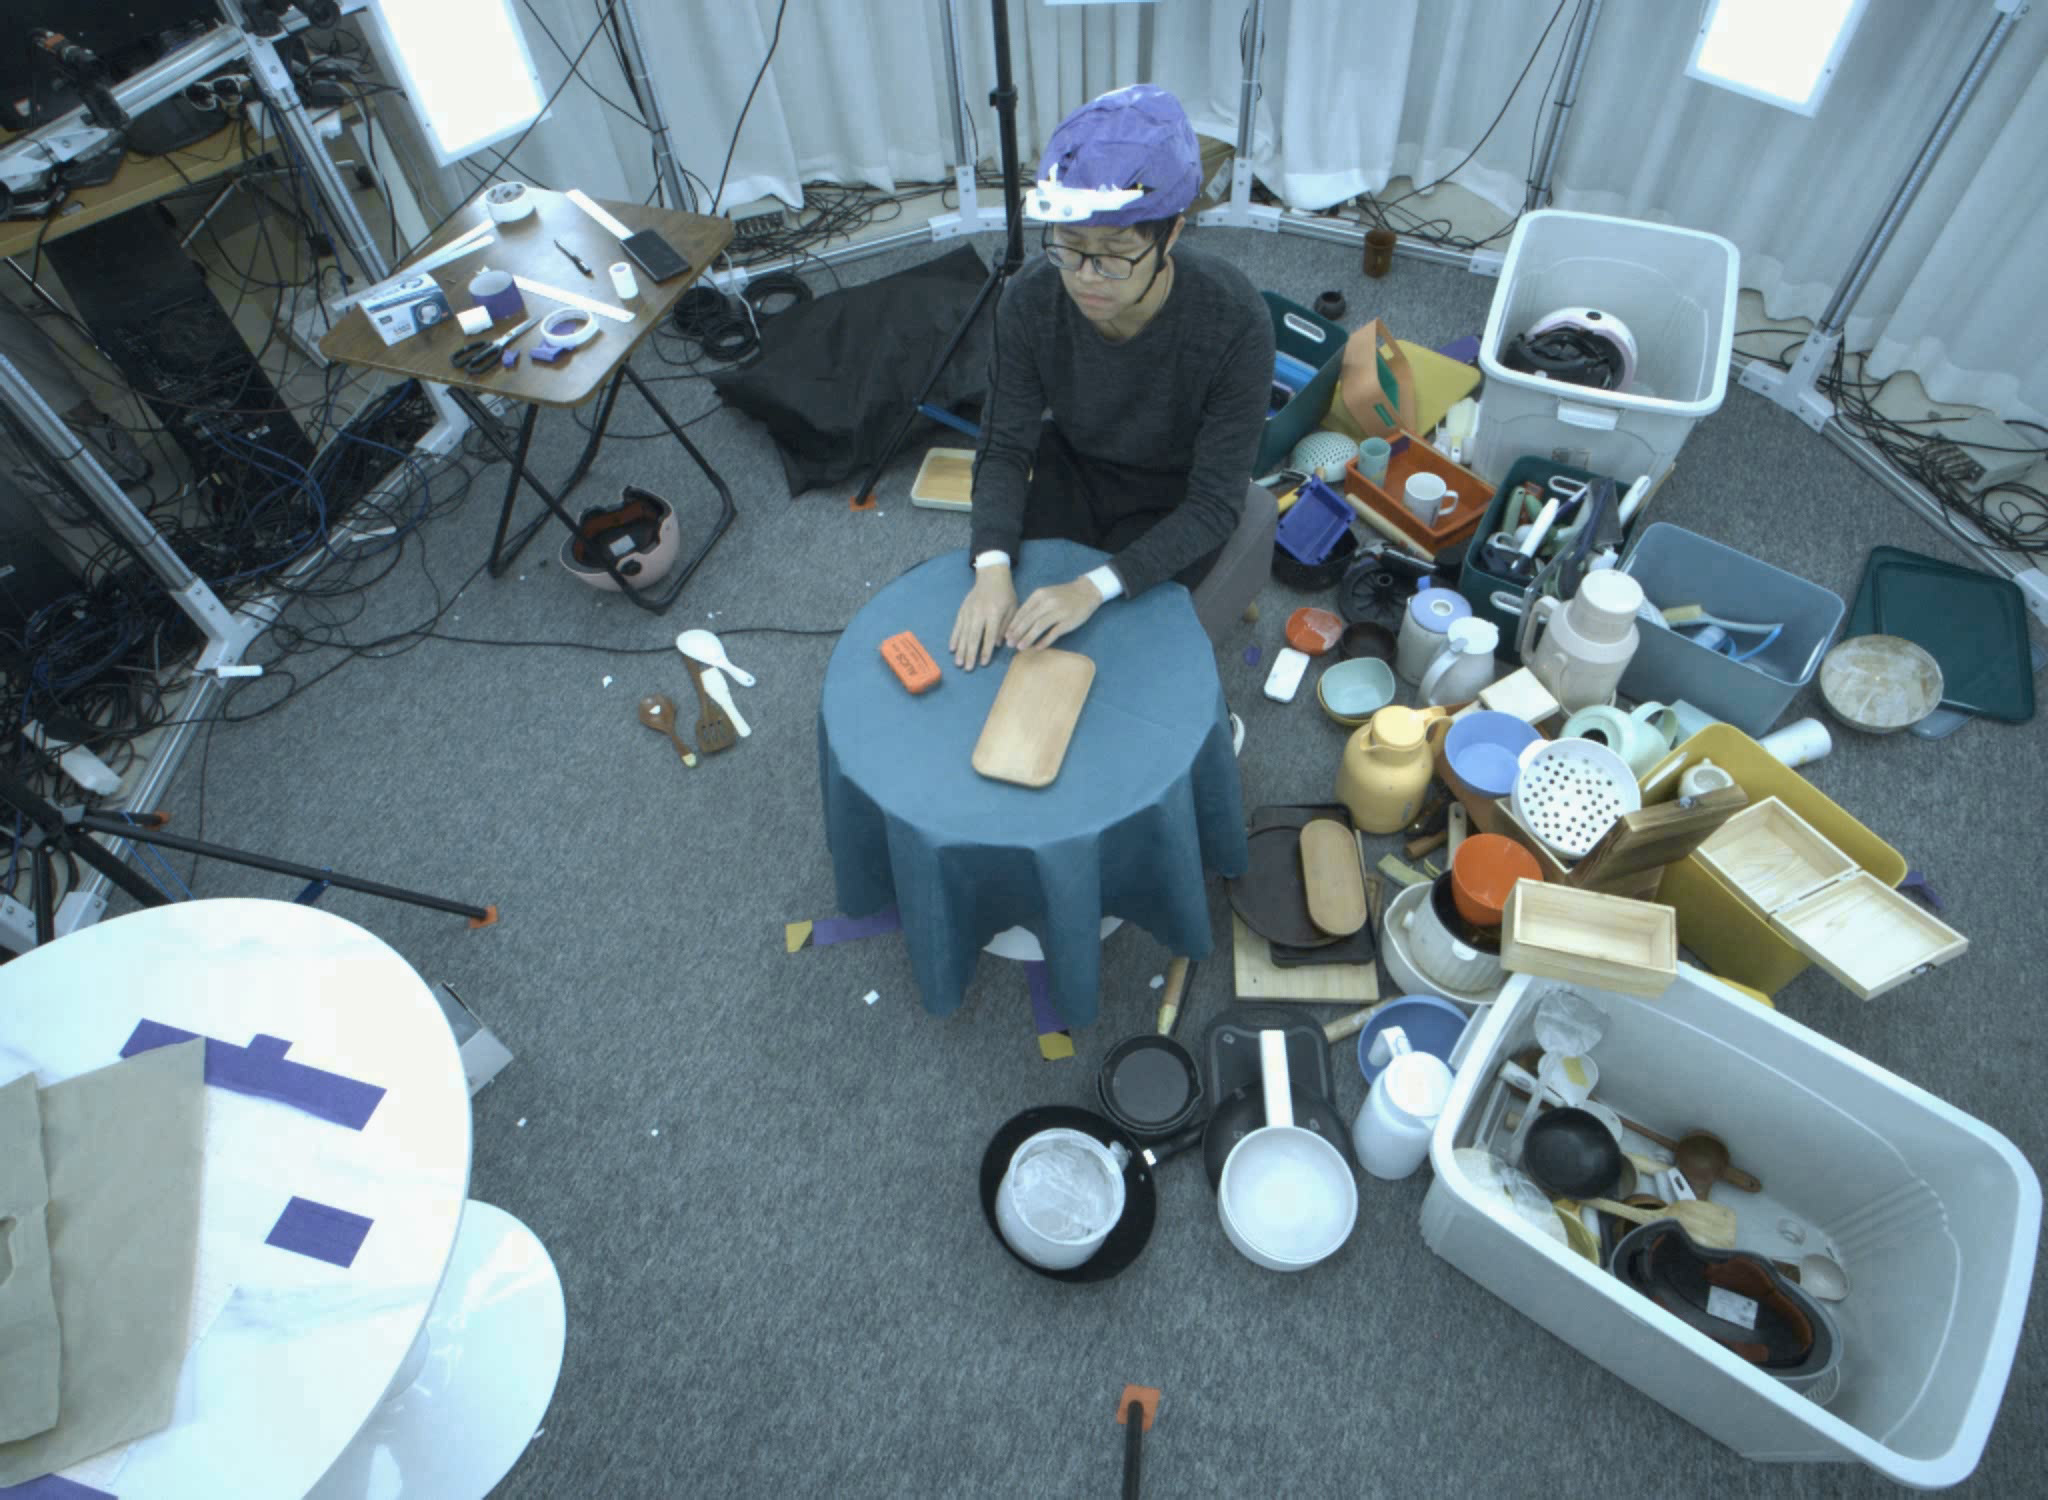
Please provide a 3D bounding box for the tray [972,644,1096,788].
[{"bbox_3d":[0.017,-0.053,1.814,0.129,0.023,0.250,16,56,10],"label":"tray"}]

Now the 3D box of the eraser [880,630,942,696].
[{"bbox_3d":[-0.174,-0.134,1.873,0.059,0.023,0.106,-27,58,-17],"label":"eraser"}]
